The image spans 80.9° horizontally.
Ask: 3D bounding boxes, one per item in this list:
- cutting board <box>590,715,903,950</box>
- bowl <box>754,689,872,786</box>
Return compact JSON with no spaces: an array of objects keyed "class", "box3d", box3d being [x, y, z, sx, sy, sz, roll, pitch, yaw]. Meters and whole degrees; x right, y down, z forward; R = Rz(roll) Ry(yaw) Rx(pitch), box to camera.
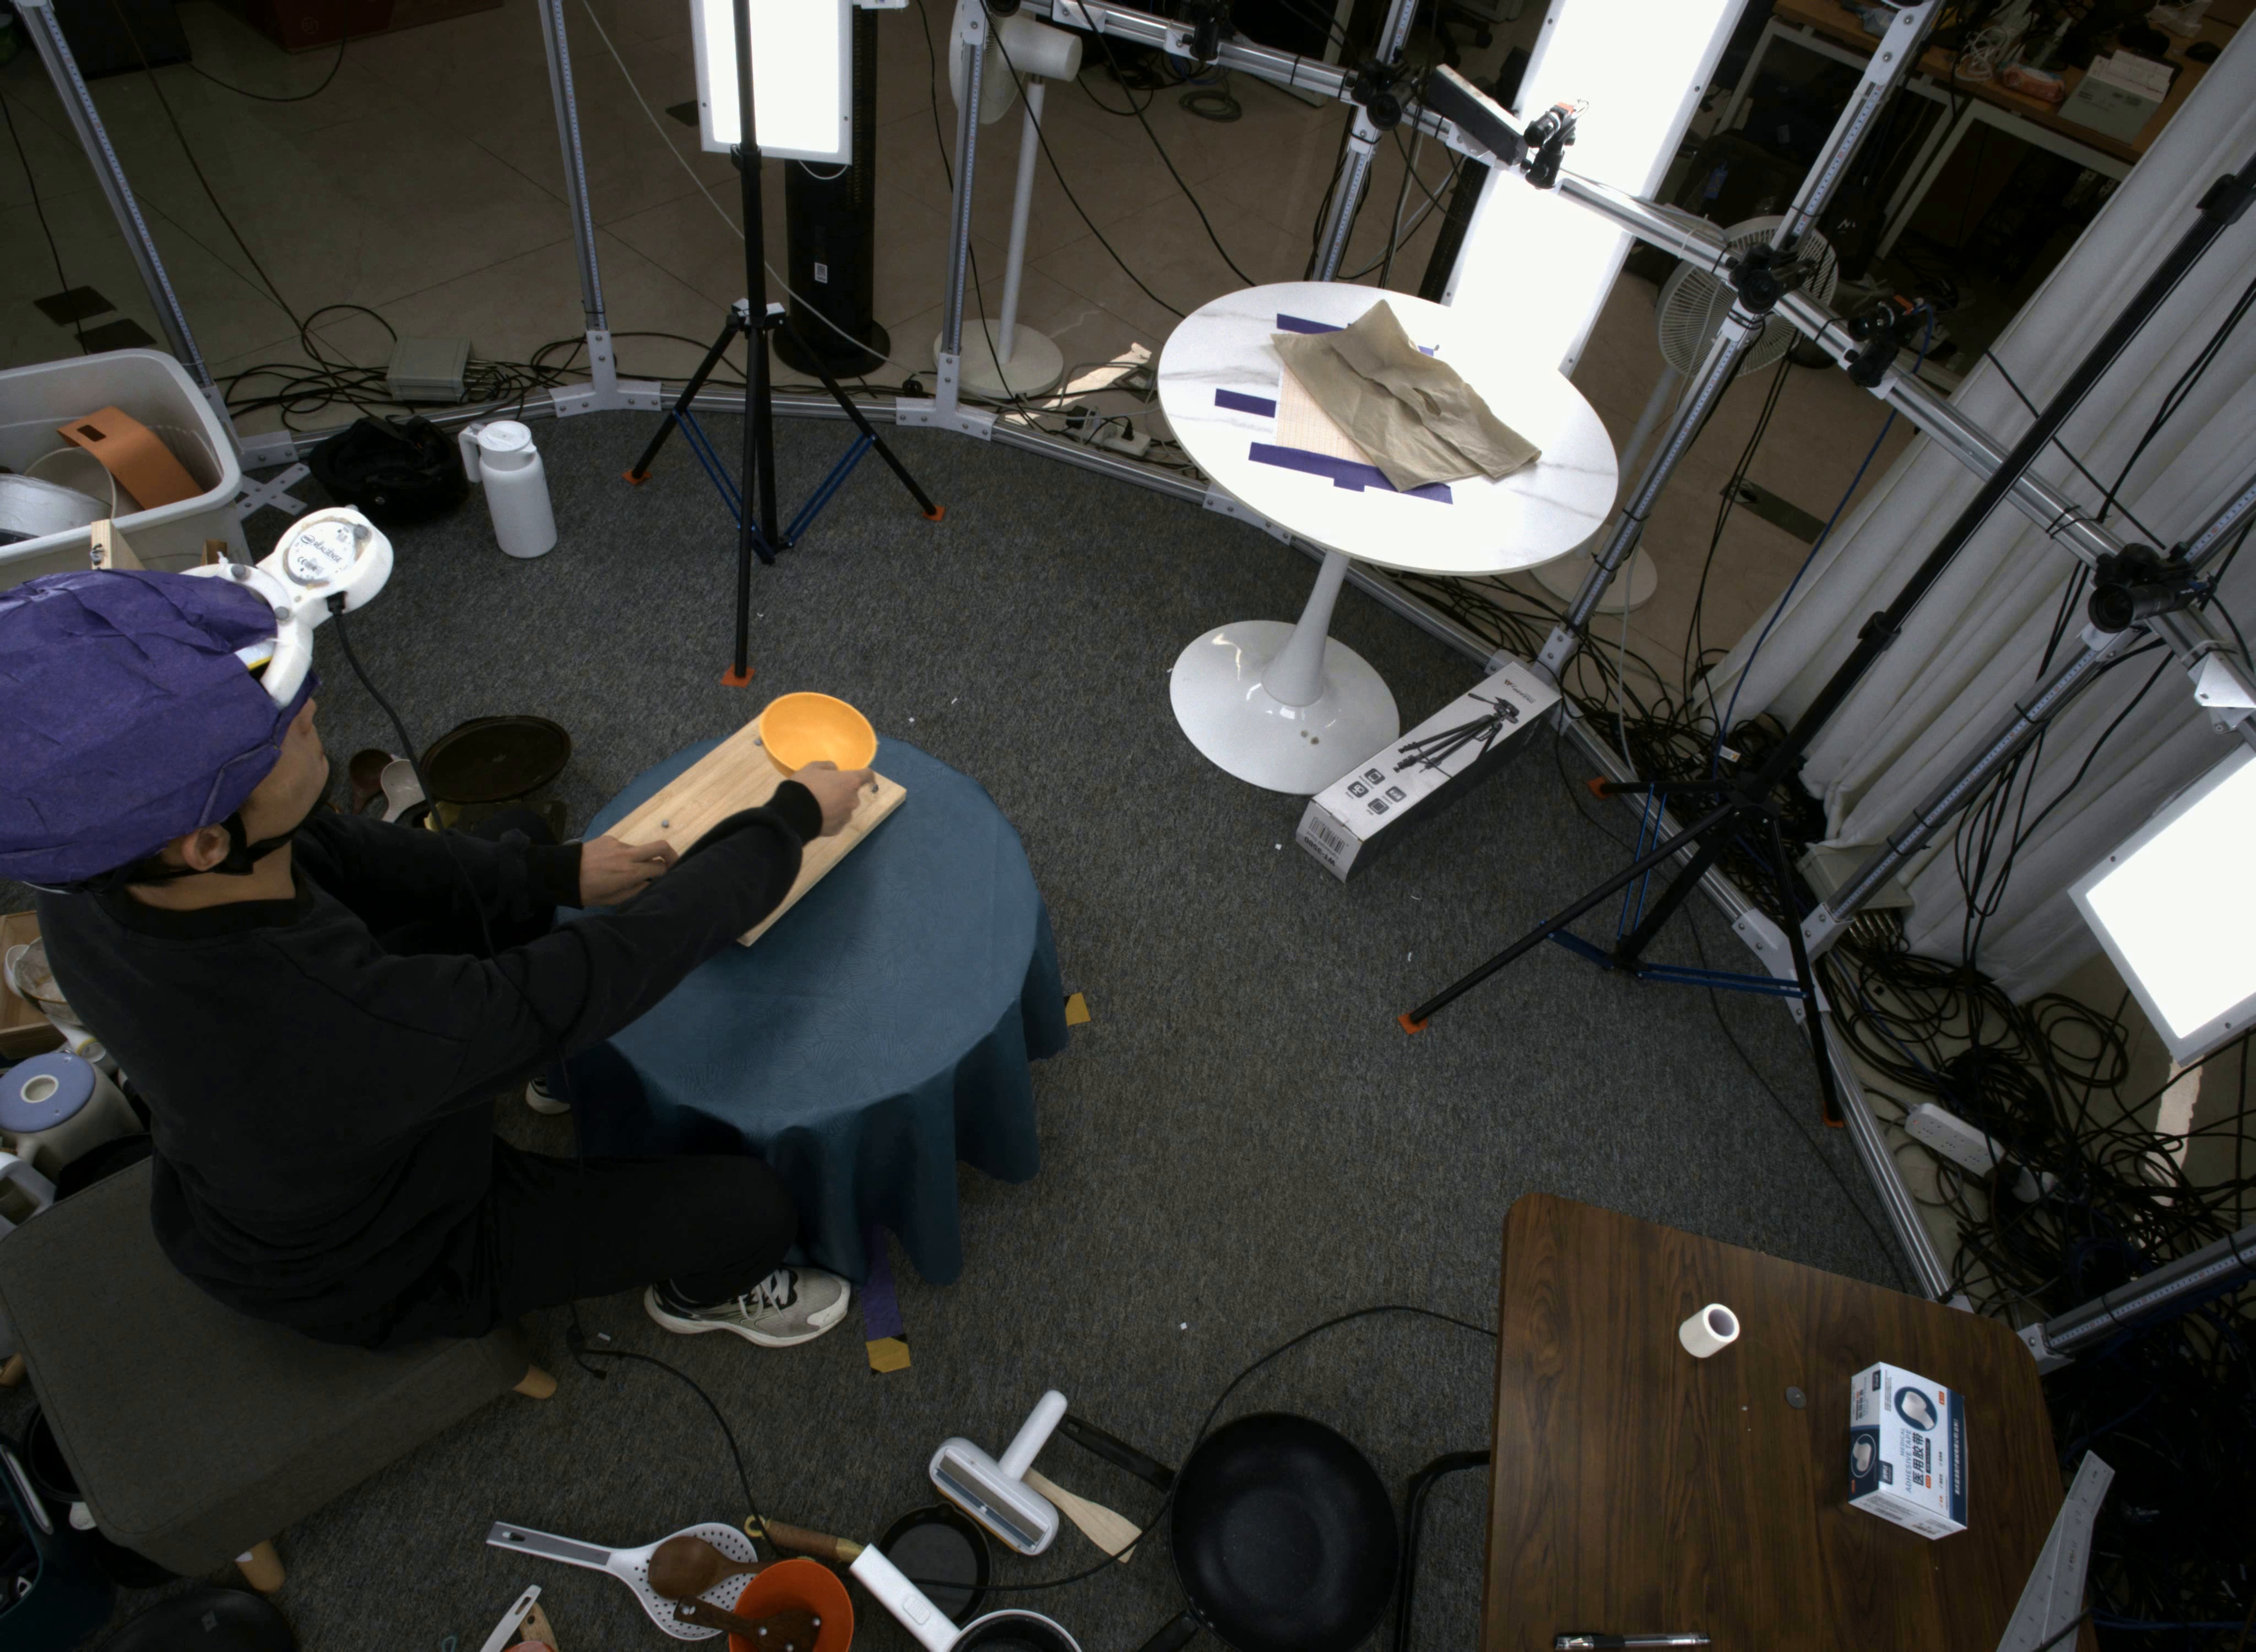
[{"class":"cutting board","box3d":[-0.484,-0.006,1.672,0.247,0.024,0.347,29,43,8]},{"class":"bowl","box3d":[-0.398,-0.099,1.622,0.146,0.061,0.142,15,47,-16]}]
